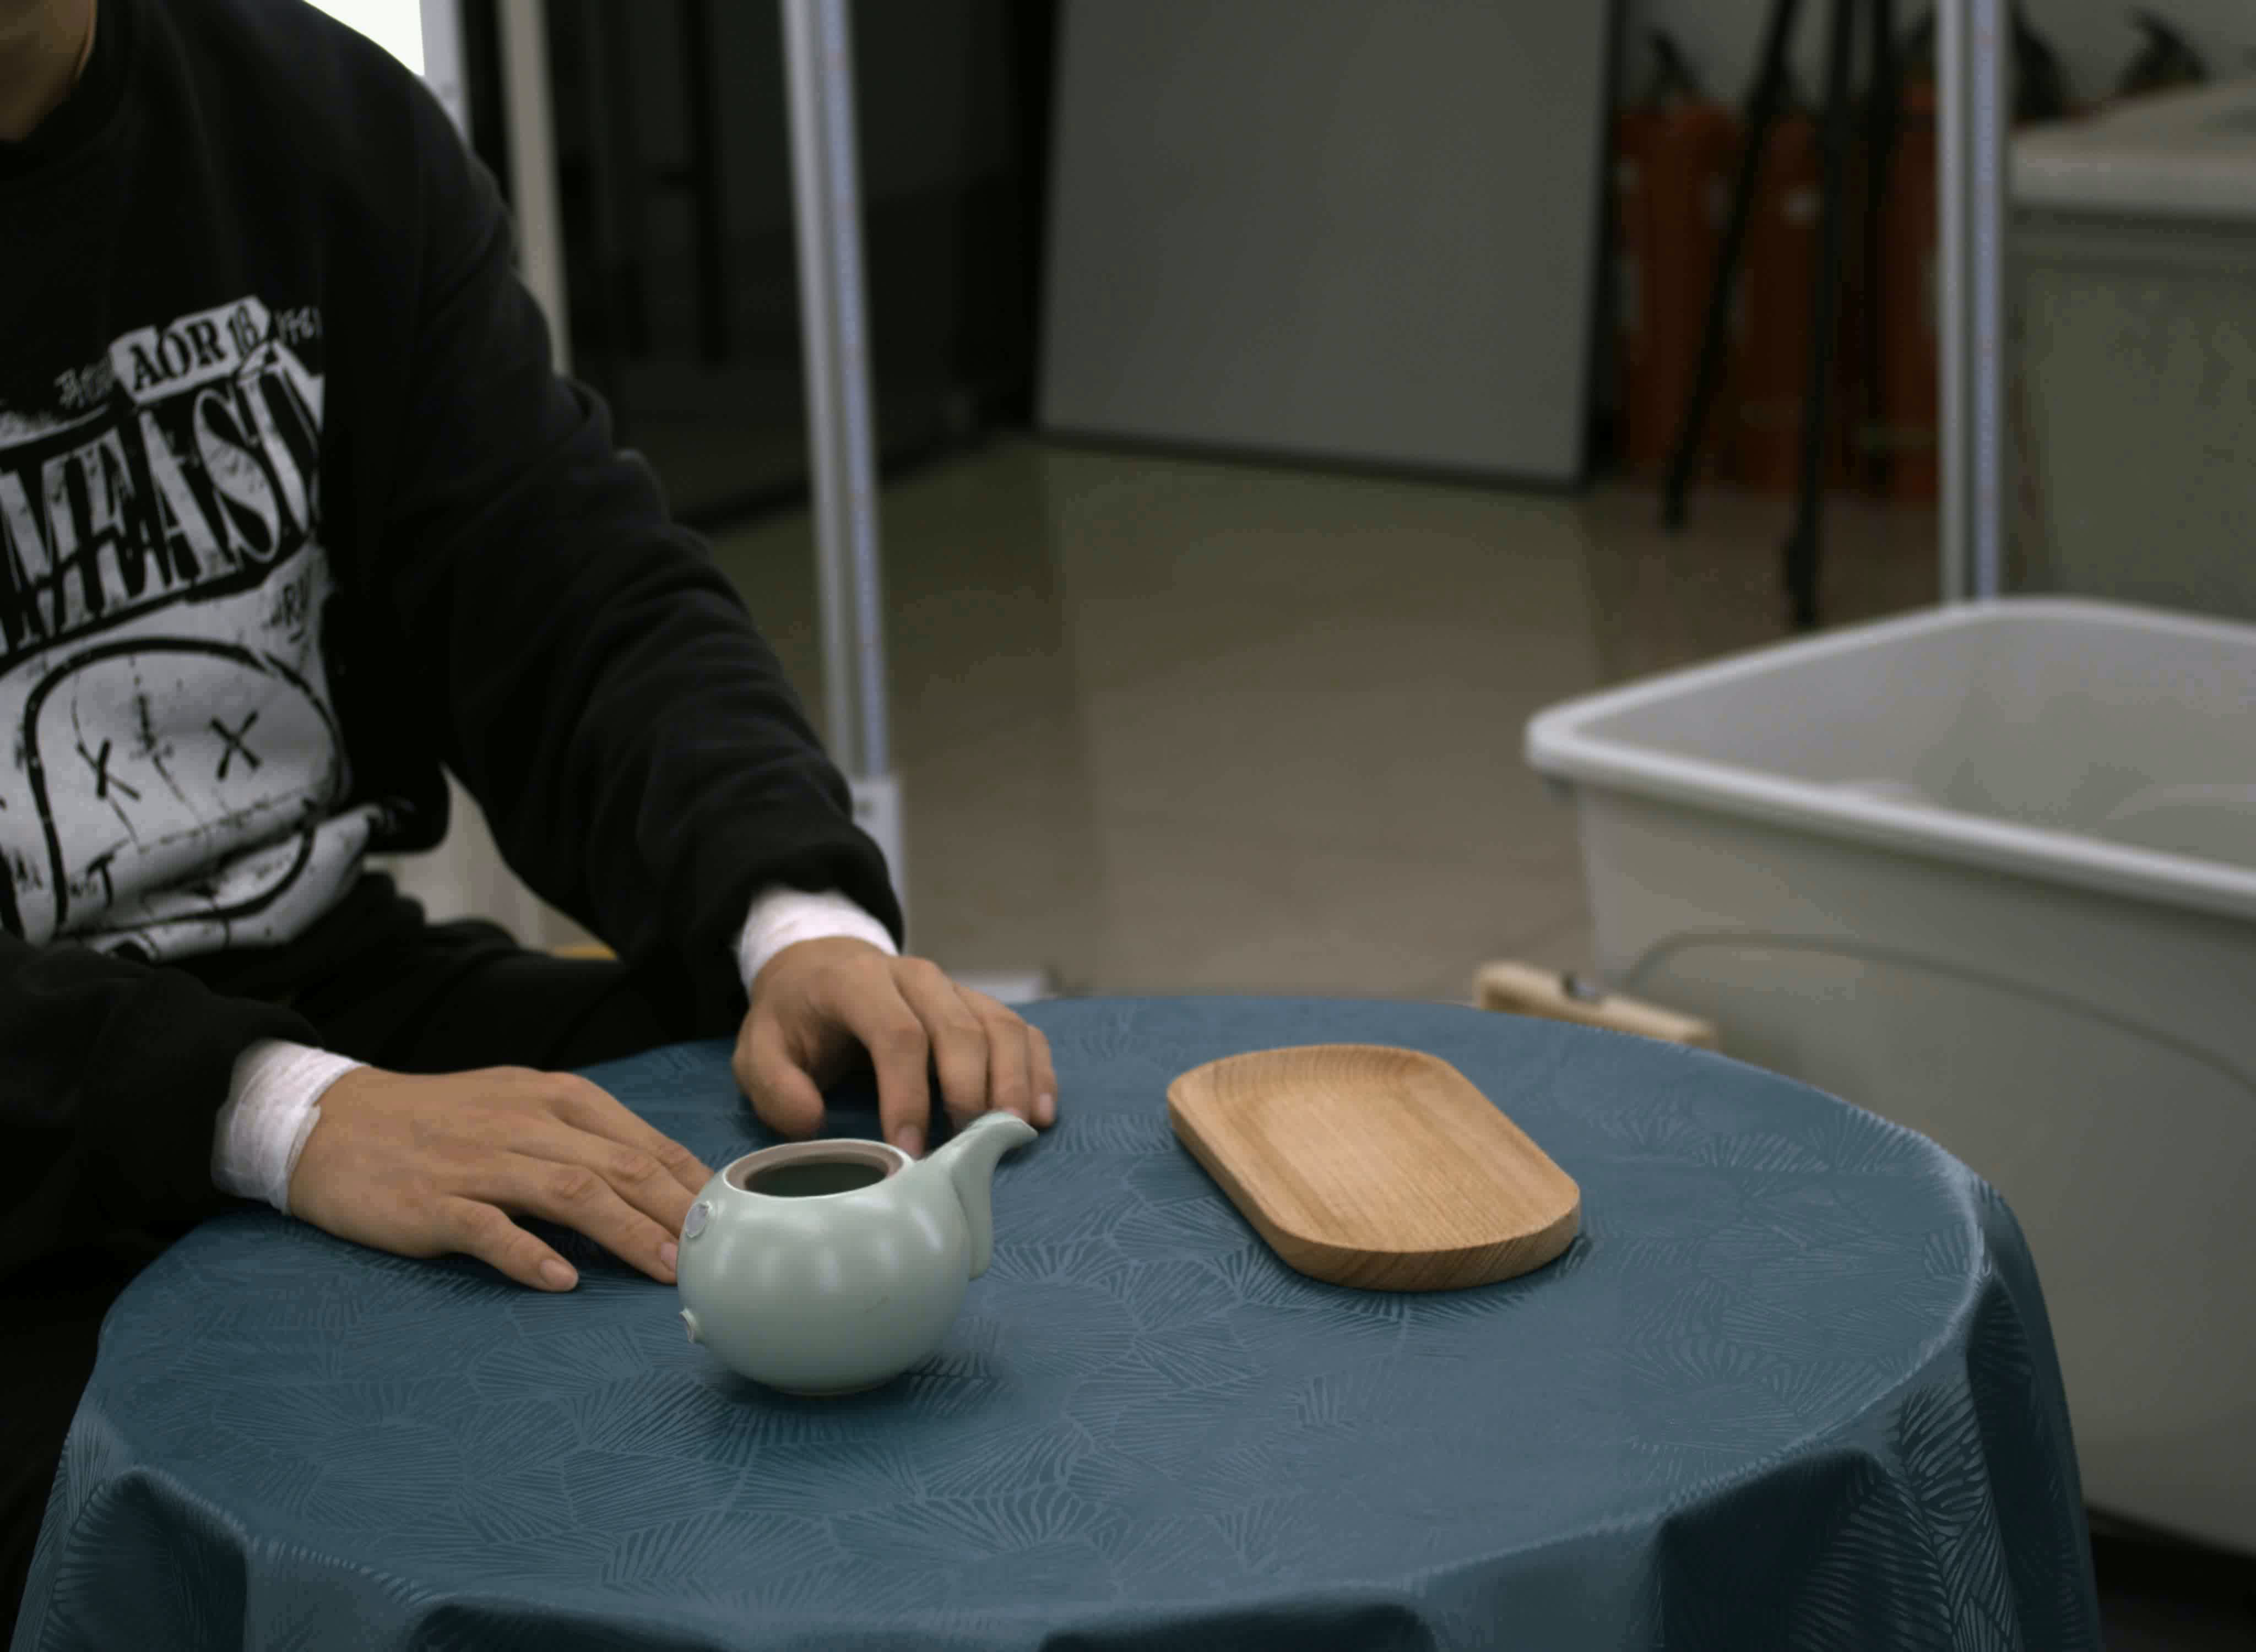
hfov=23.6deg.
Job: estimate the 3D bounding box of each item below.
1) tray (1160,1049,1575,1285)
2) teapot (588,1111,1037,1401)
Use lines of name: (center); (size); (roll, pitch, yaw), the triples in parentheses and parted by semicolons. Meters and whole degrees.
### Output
tray: (0.077, 0.110, 1.765); (0.100, 0.020, 0.233); (-6, 12, -12)
teapot: (-0.092, 0.130, 1.613); (0.141, 0.075, 0.089); (-7, 14, -20)
